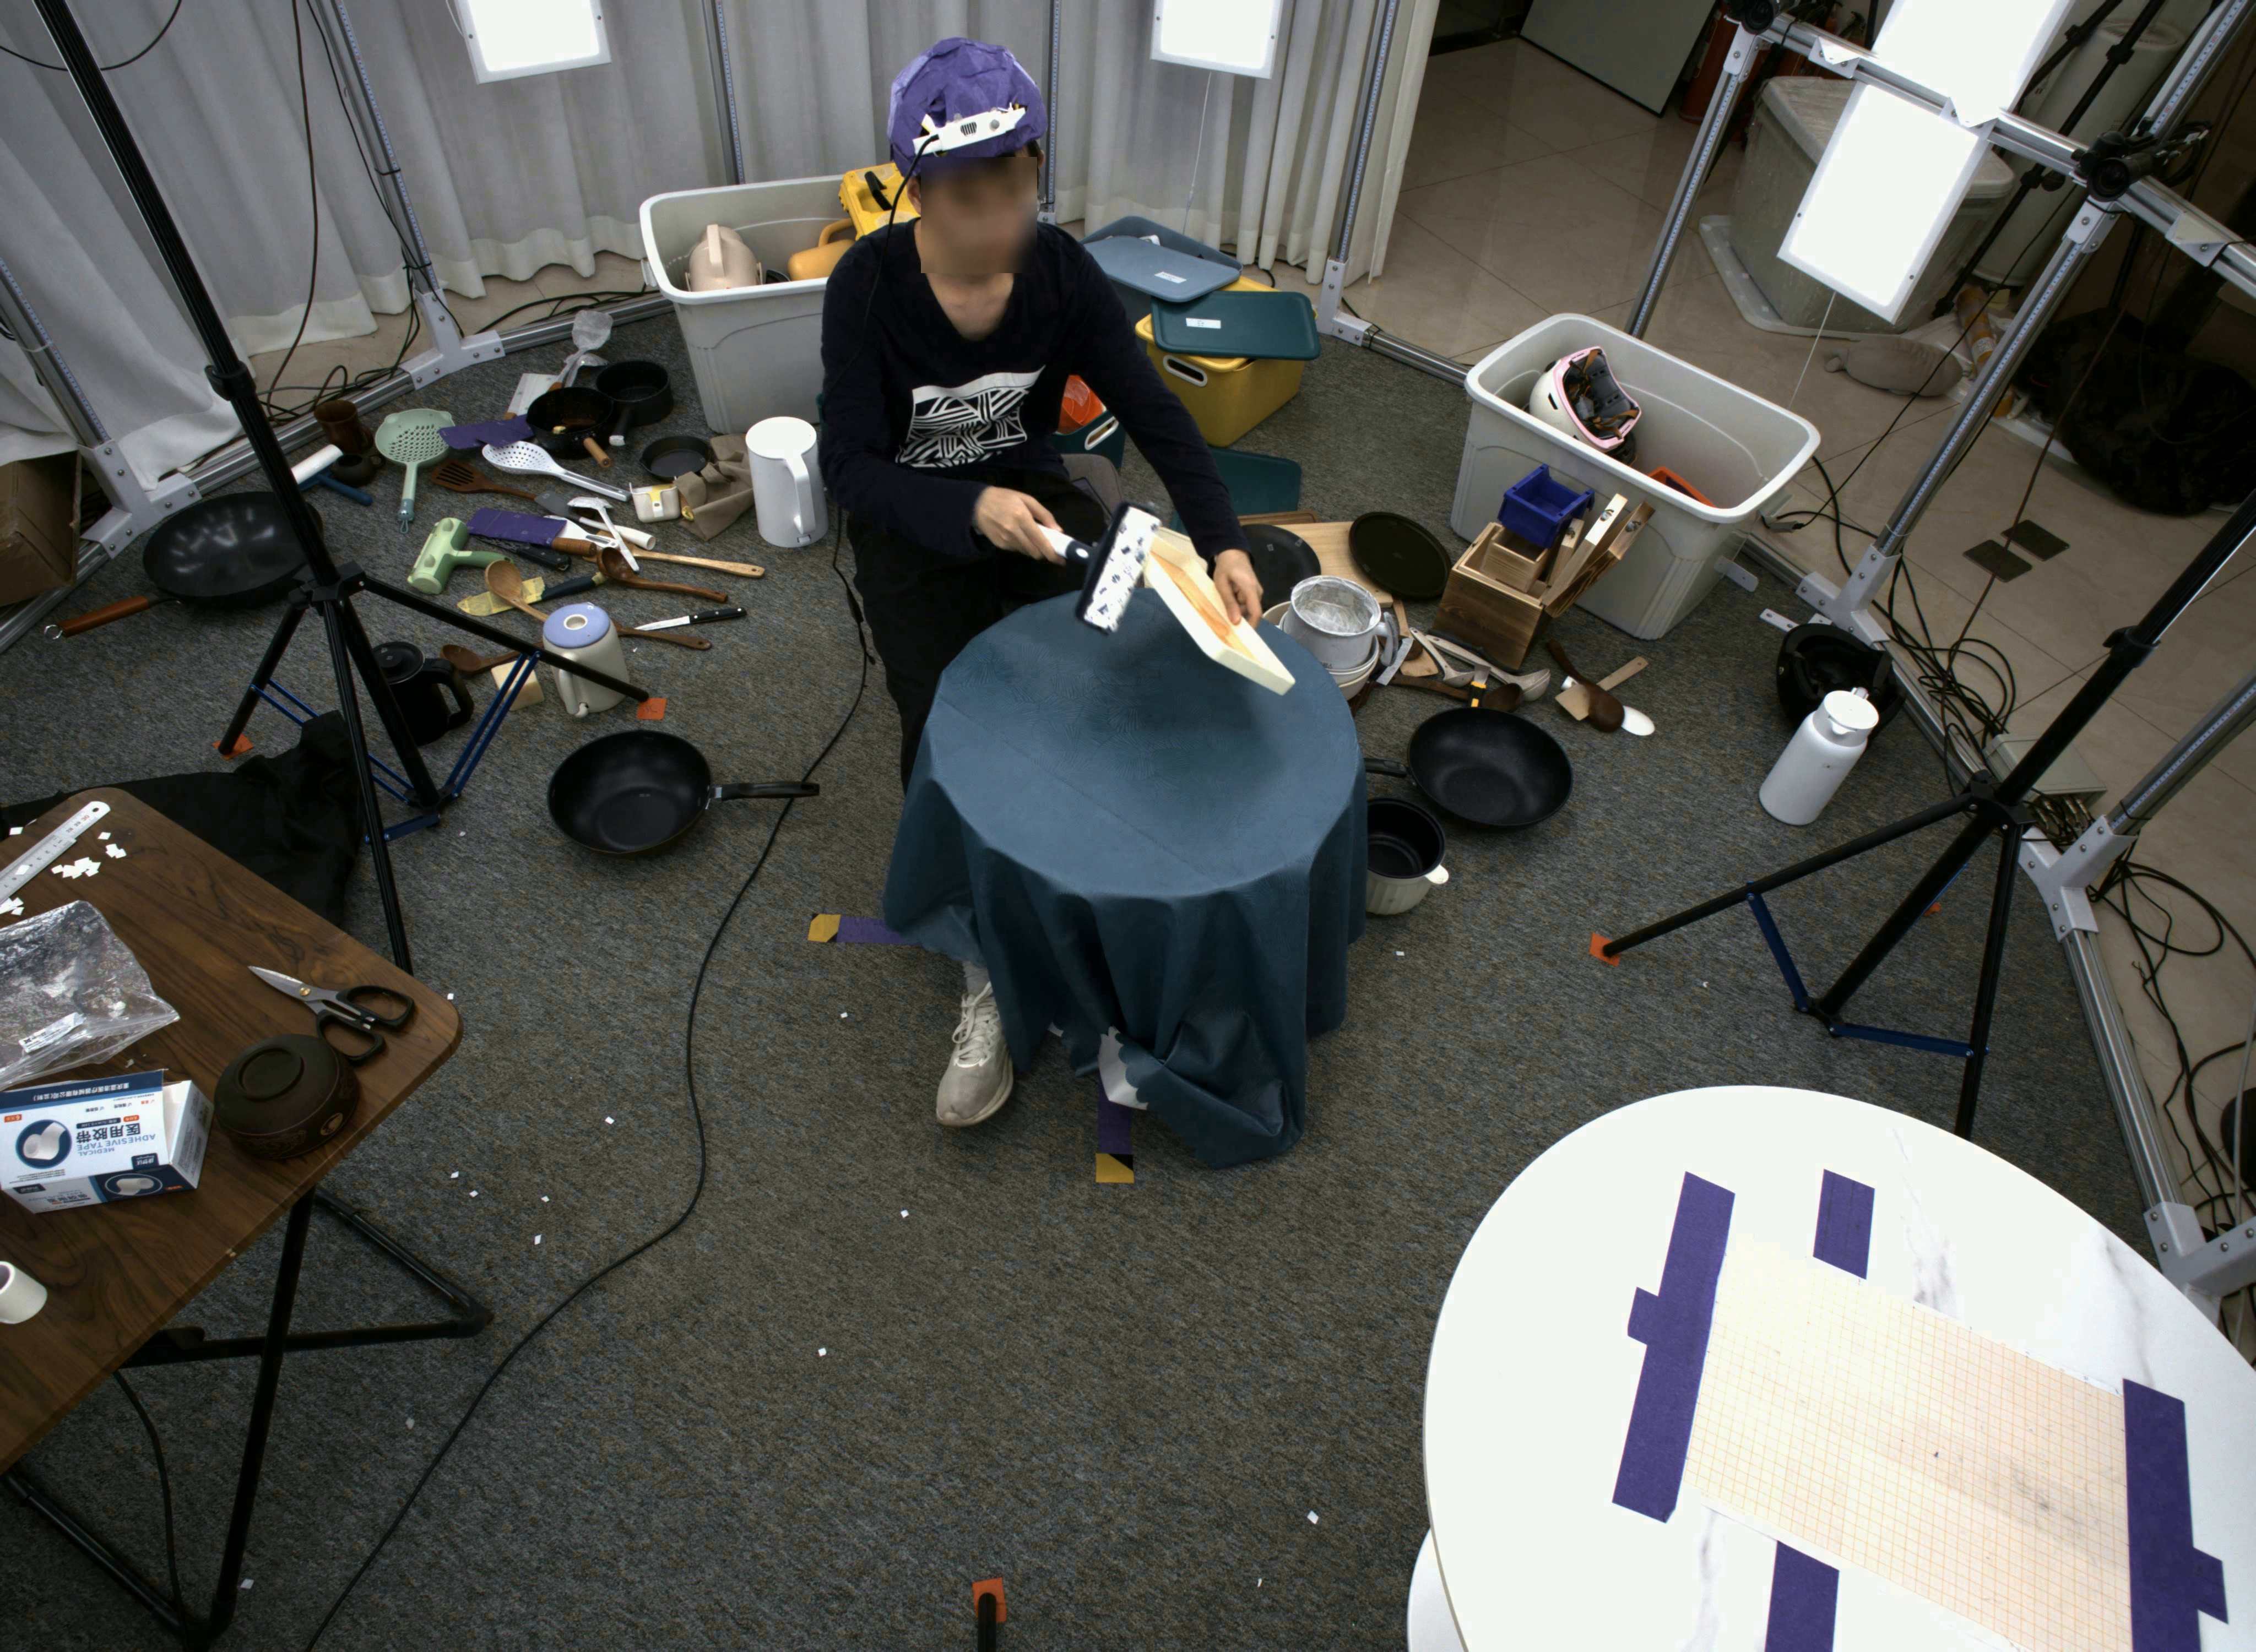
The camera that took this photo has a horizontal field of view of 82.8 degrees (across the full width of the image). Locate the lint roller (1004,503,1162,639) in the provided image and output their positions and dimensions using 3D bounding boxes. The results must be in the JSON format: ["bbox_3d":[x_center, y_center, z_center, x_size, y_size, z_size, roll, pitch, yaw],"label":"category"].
[{"bbox_3d":[-0.082,-0.375,1.756,0.250,0.175,0.050,28,8,31],"label":"lint roller"}]

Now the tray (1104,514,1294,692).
[{"bbox_3d":[0.096,-0.306,1.763,0.189,0.027,0.307,15,33,-46],"label":"tray"}]
